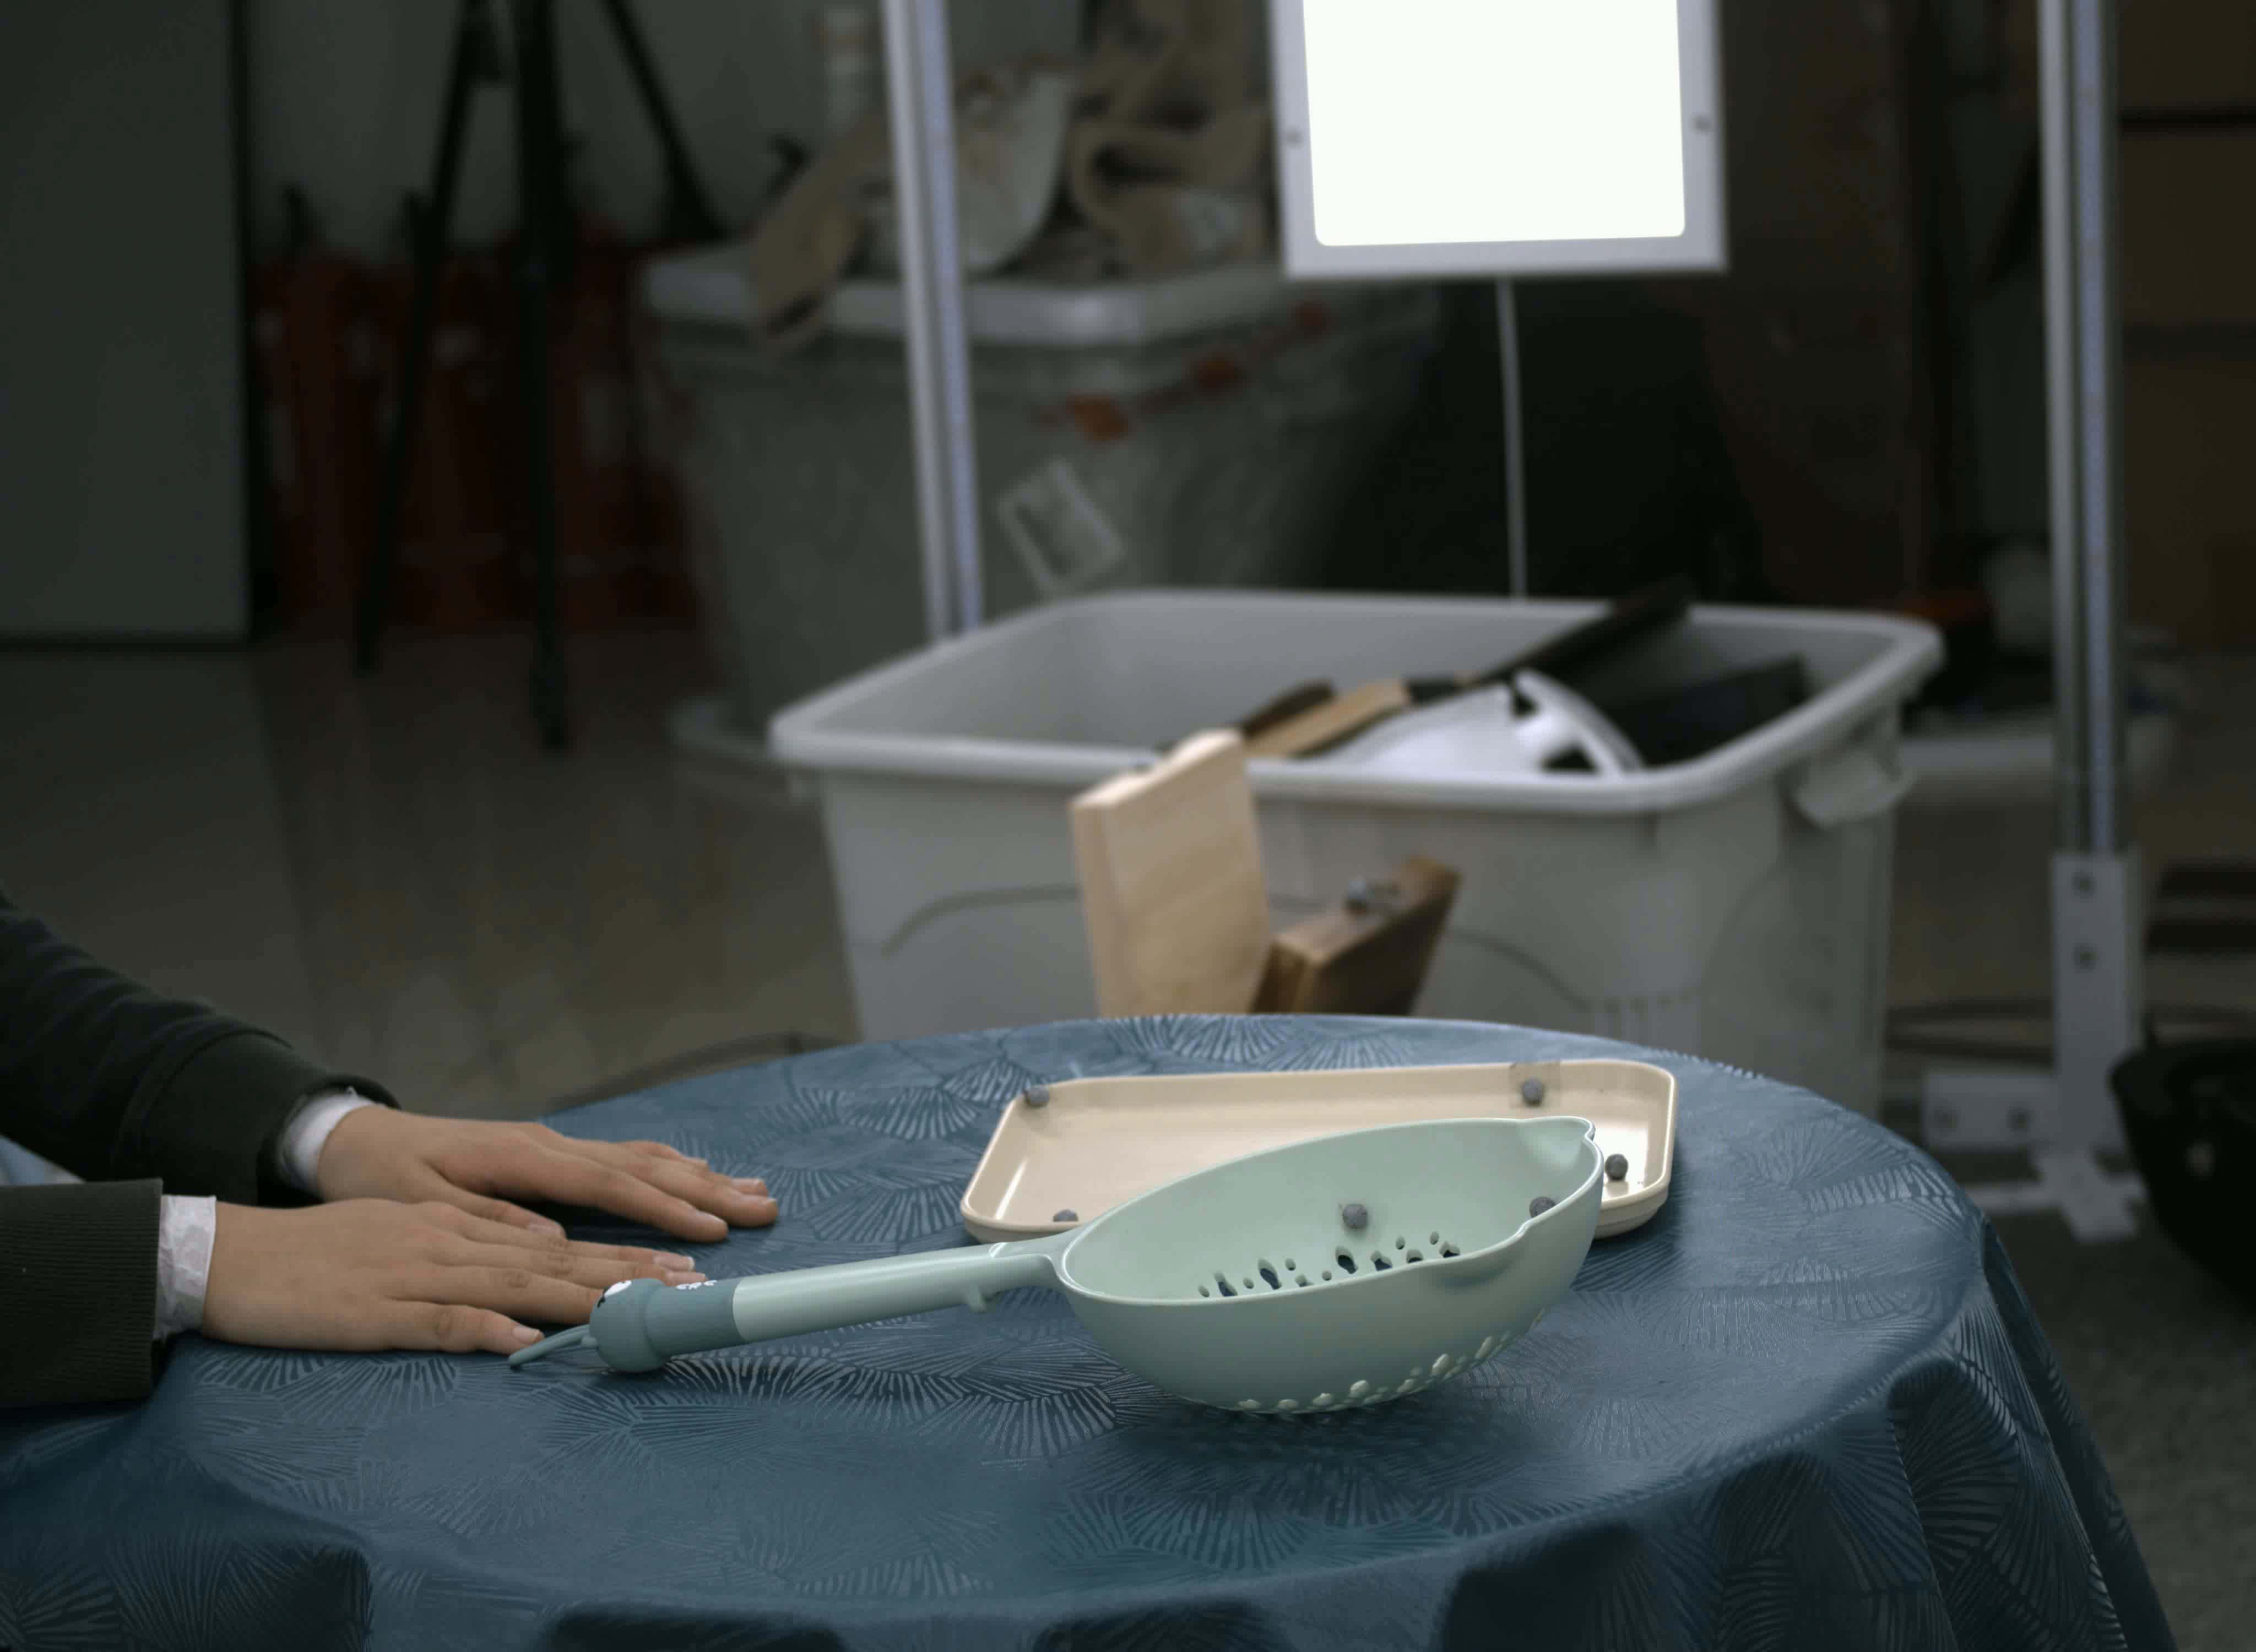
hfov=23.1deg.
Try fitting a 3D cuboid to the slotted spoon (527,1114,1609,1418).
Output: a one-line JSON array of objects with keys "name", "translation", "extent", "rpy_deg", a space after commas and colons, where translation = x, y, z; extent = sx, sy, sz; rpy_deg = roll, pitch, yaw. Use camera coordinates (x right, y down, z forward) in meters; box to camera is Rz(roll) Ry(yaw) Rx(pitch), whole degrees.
[{"name": "slotted spoon", "translation": [-0.026, 0.142, 1.711], "extent": [0.363, 0.075, 0.166], "rpy_deg": [0, 14, 19]}]

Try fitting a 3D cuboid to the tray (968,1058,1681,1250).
[{"name": "tray", "translation": [0.071, 0.116, 1.883], "extent": [0.241, 0.017, 0.170], "rpy_deg": [-4, 13, 10]}]
